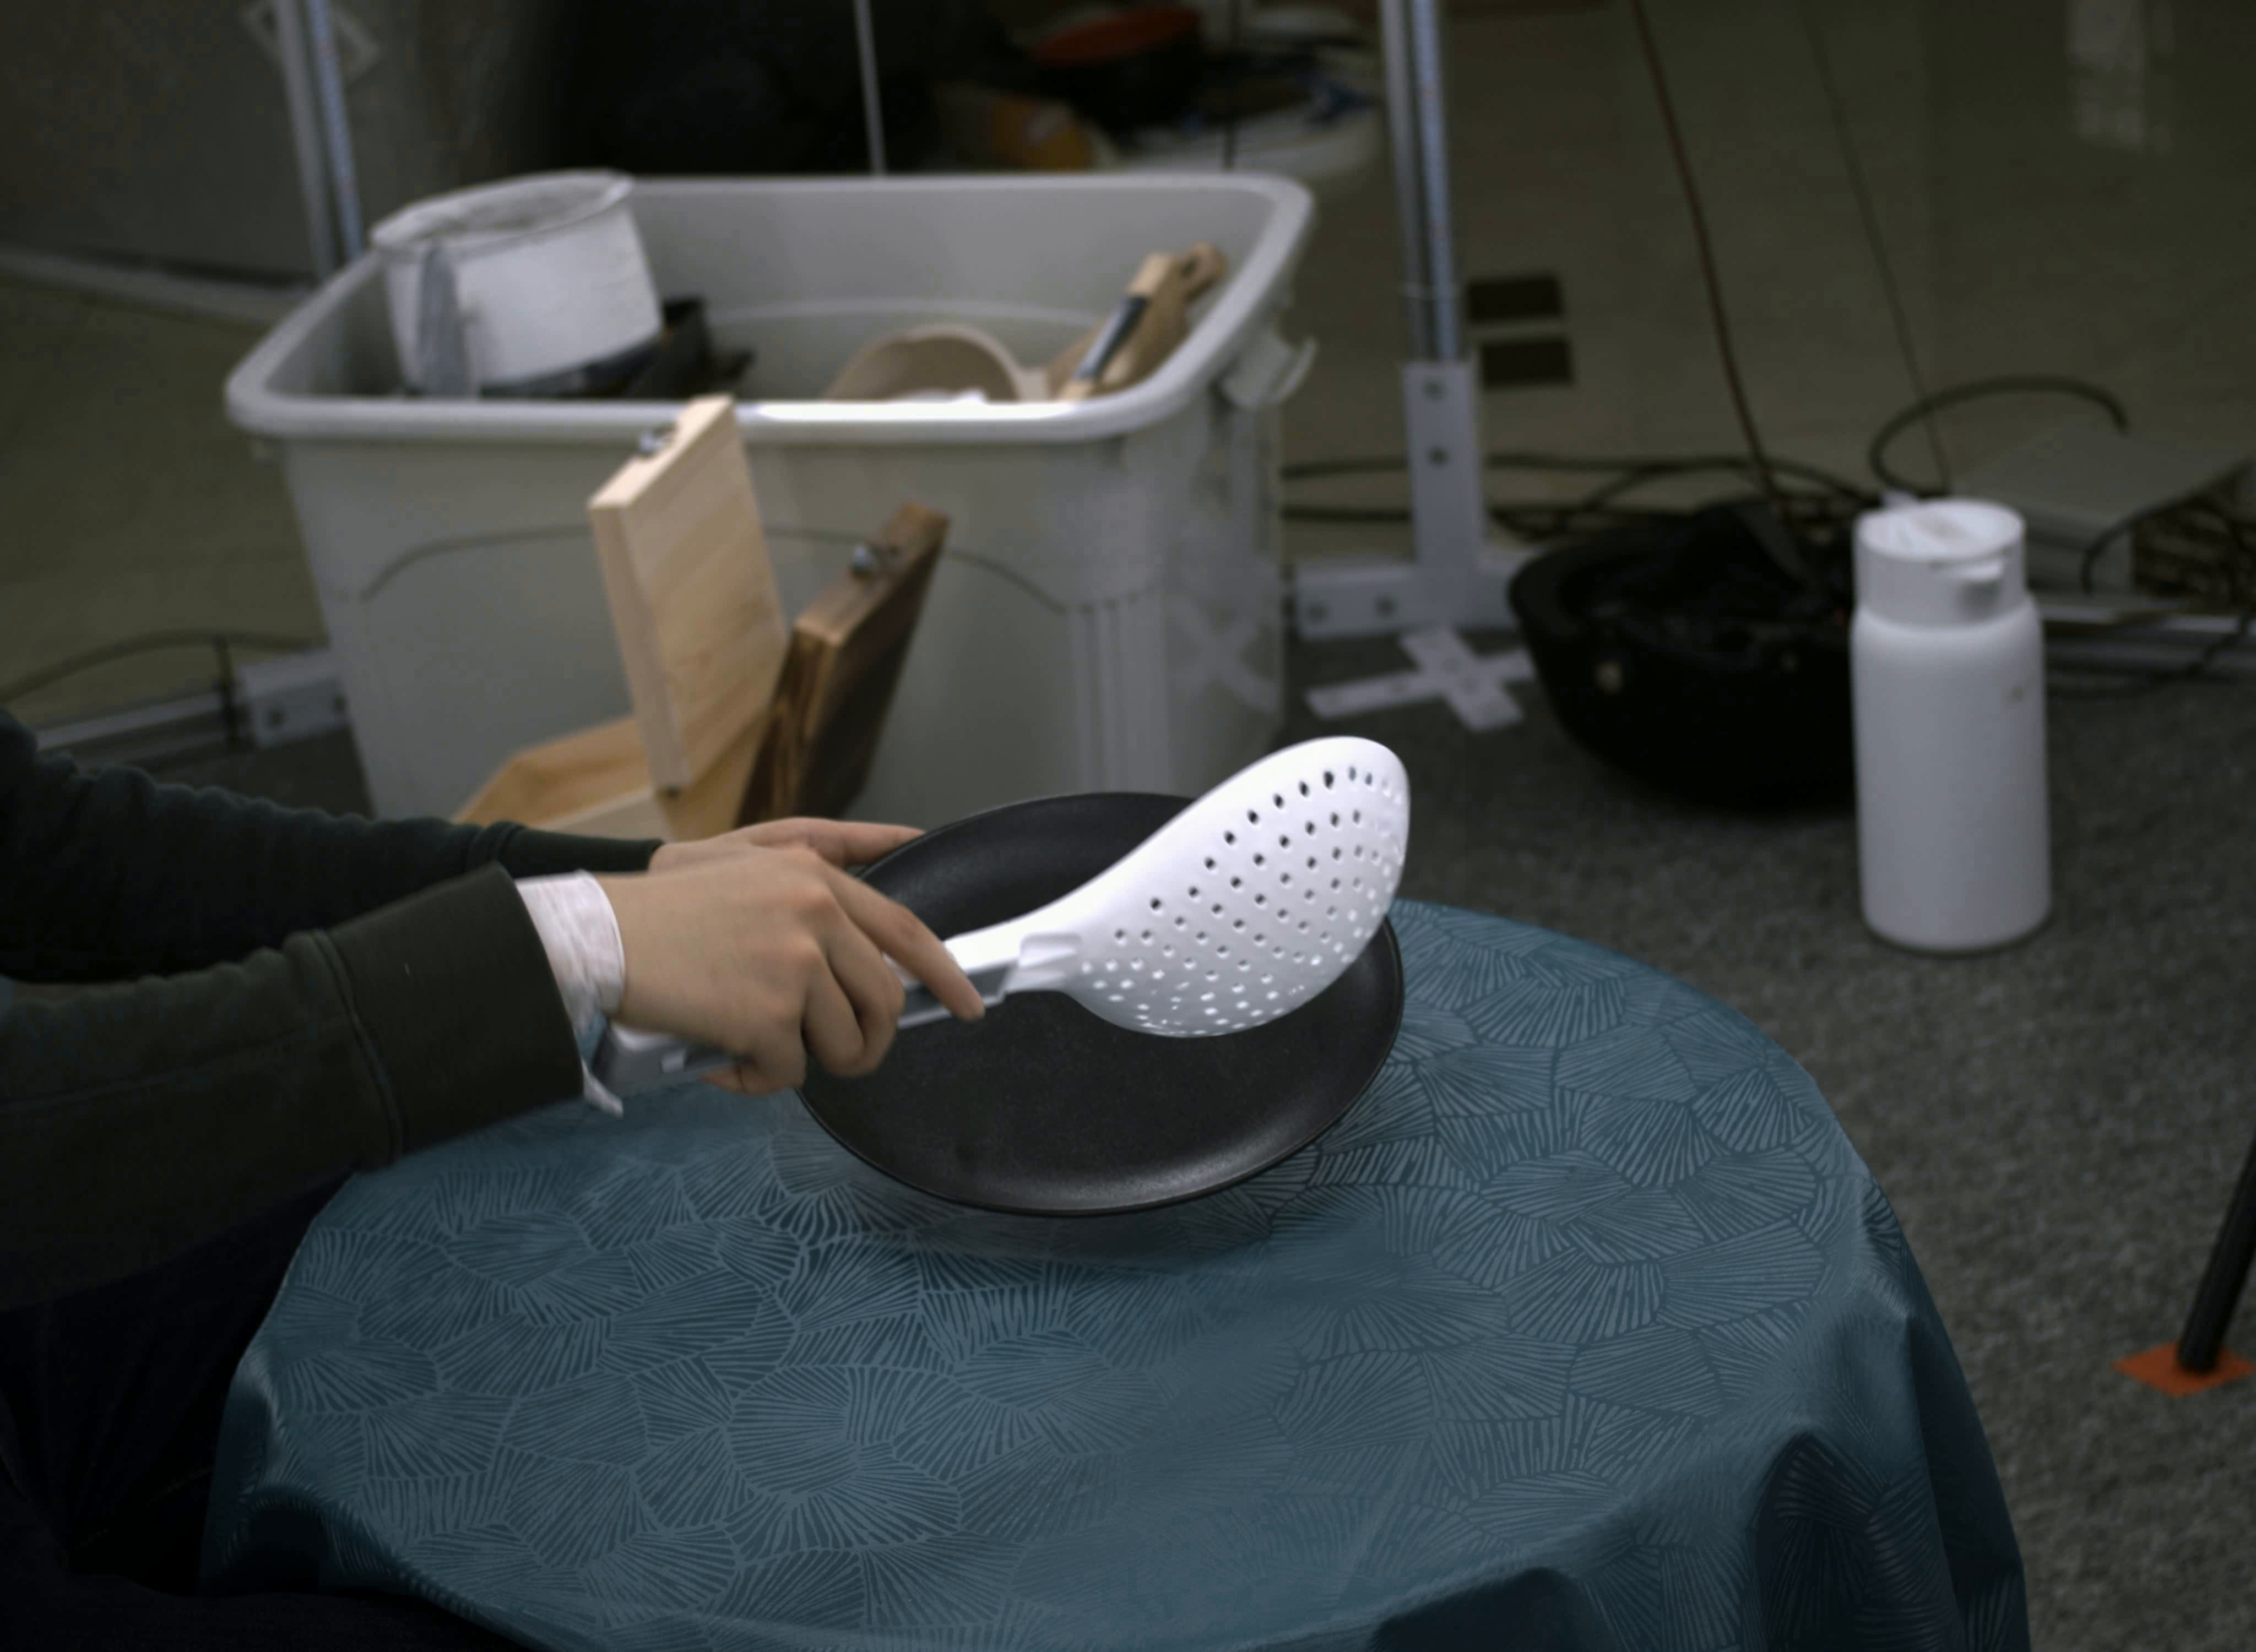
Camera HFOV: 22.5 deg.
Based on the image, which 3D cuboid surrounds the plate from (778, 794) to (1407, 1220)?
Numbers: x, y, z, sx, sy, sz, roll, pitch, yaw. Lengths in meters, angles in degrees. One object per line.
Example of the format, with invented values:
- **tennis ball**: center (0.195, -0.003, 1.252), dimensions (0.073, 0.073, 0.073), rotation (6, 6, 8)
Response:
- **plate**: center (-0.014, 0.073, 2.184), dimensions (0.244, 0.024, 0.240), rotation (-3, 41, 2)

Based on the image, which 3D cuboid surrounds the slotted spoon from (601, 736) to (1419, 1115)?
- **slotted spoon**: center (-0.031, 0.046, 1.924), dimensions (0.348, 0.138, 0.045), rotation (-10, 48, -35)
